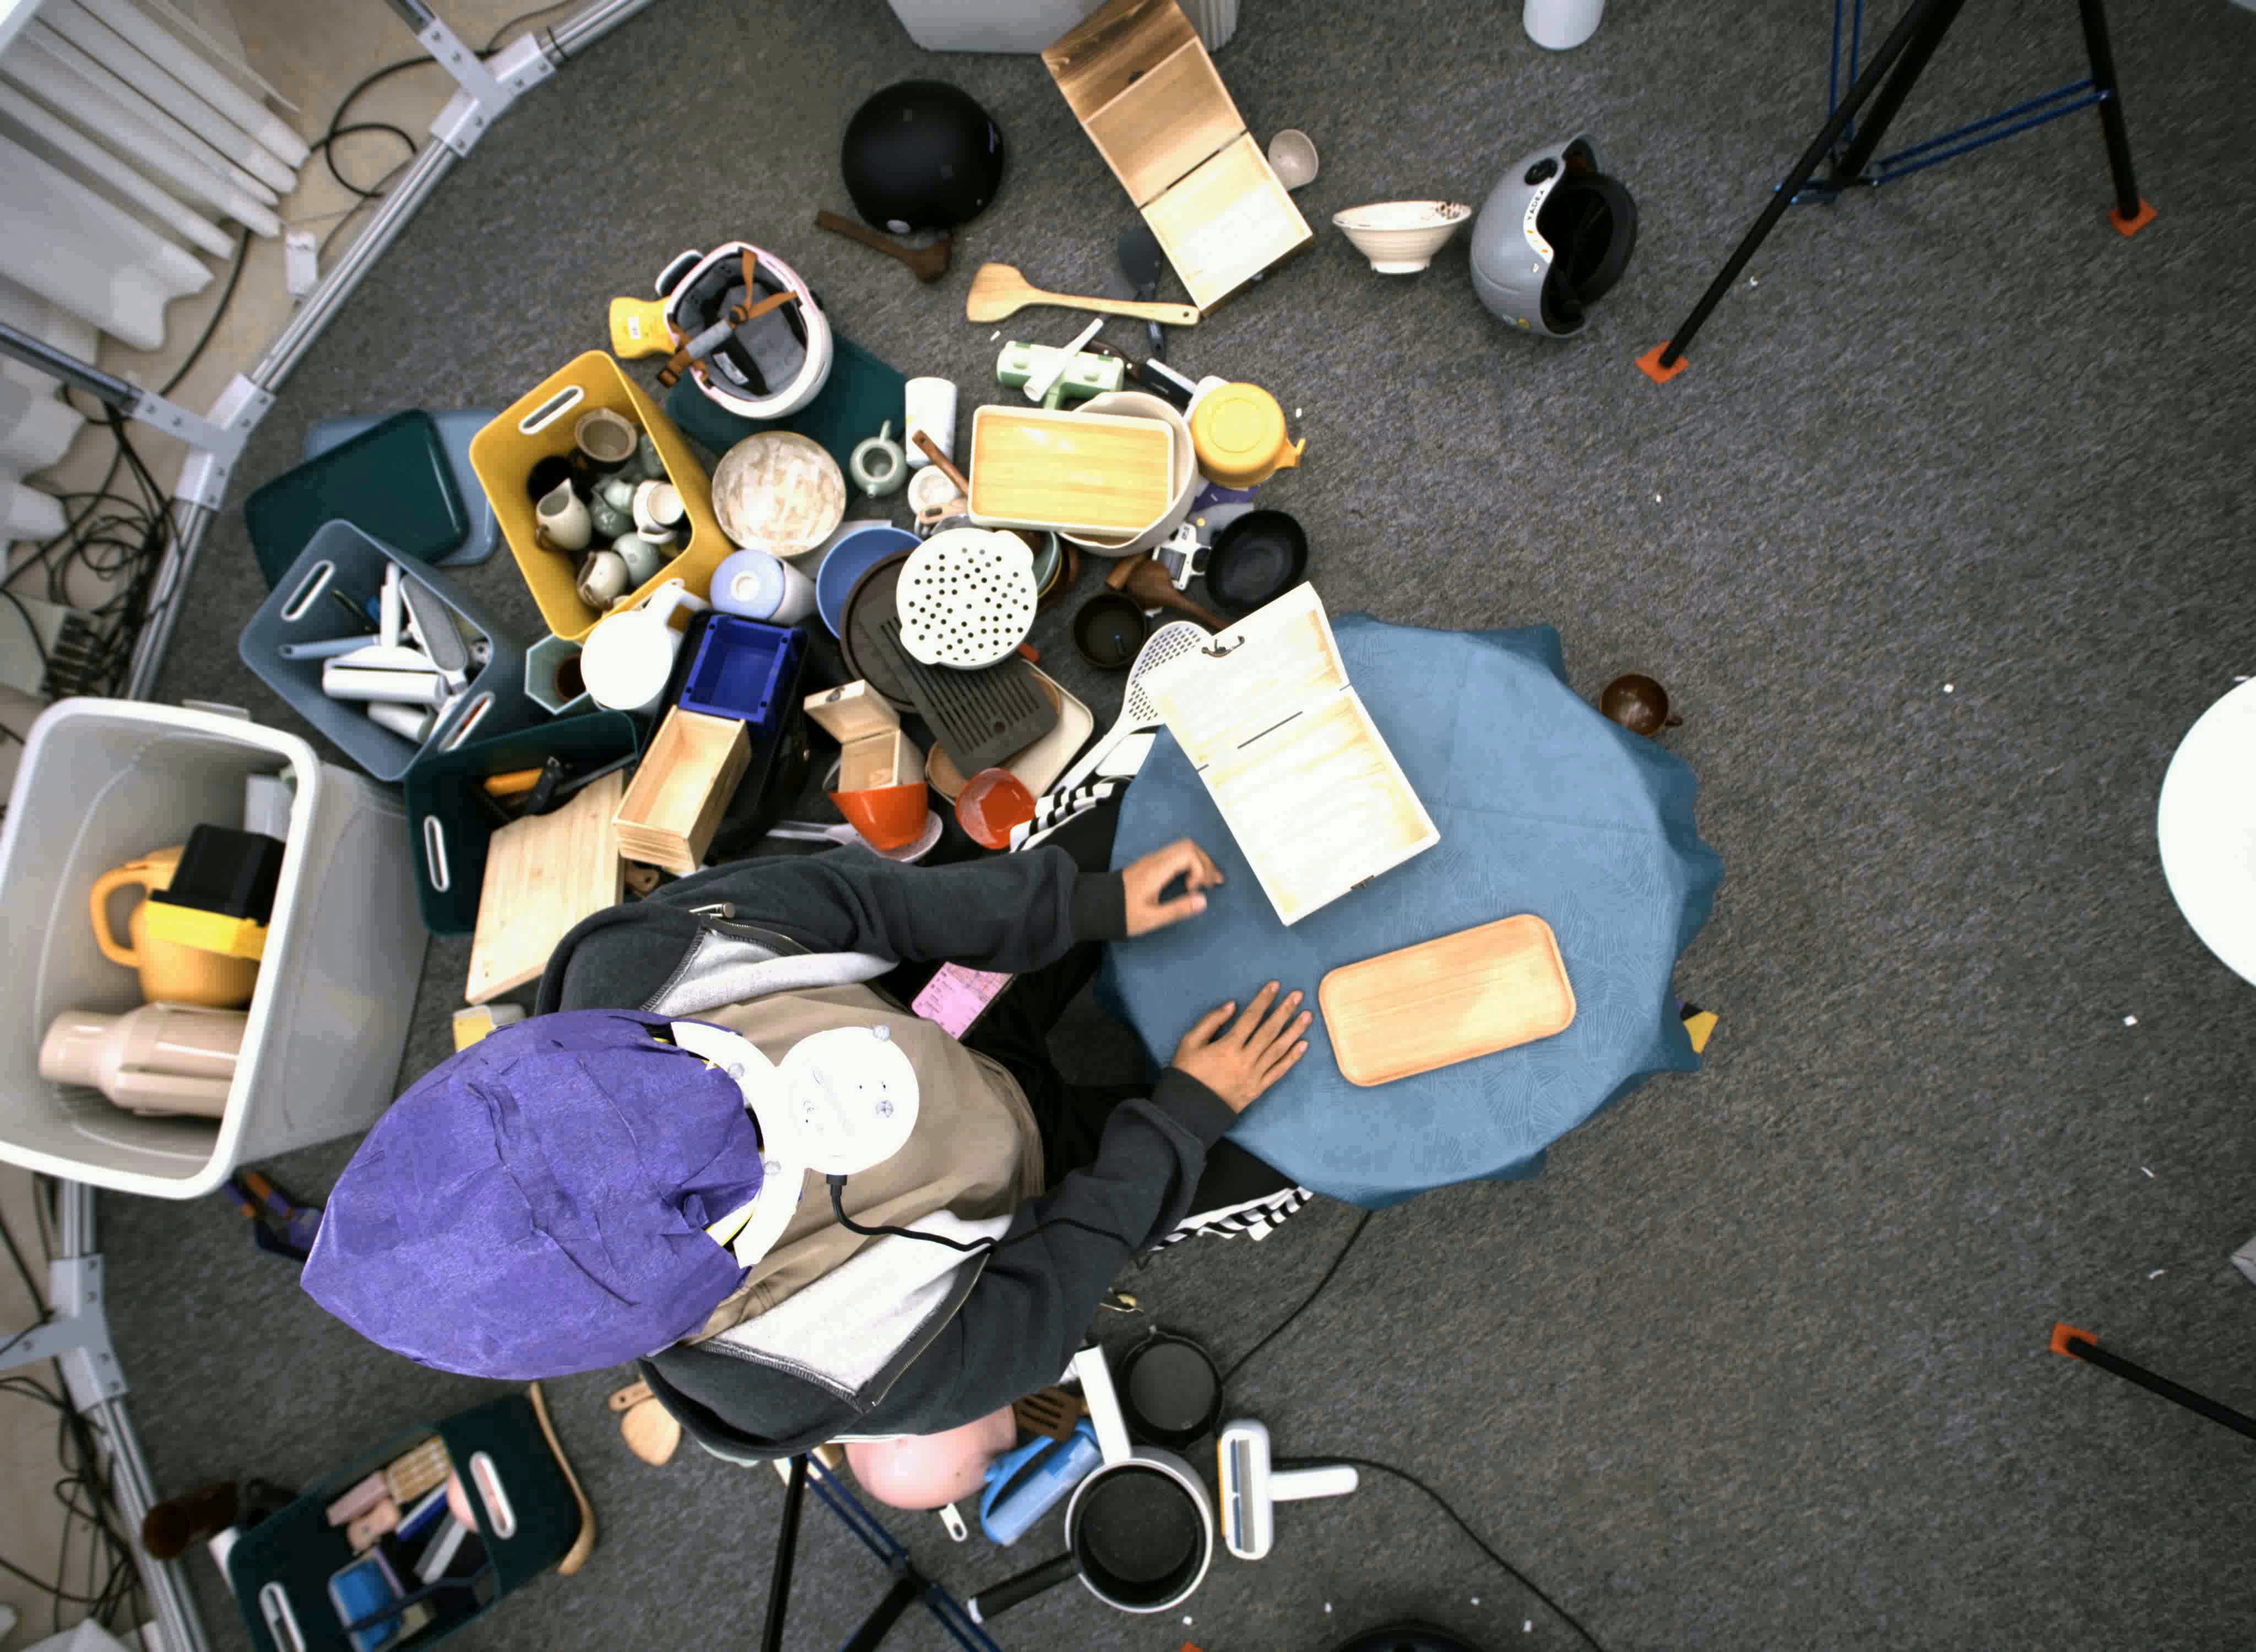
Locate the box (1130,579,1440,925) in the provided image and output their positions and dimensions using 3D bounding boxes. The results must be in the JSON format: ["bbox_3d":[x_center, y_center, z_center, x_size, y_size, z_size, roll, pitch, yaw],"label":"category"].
[{"bbox_3d":[0.166,-0.058,1.362,0.183,0.253,0.263,-31,80,8],"label":"box"}]

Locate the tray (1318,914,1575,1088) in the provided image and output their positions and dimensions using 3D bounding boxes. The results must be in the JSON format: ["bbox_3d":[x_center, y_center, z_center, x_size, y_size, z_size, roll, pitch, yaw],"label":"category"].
[{"bbox_3d":[0.329,0.180,1.433,0.252,0.023,0.129,-17,81,9],"label":"tray"}]
